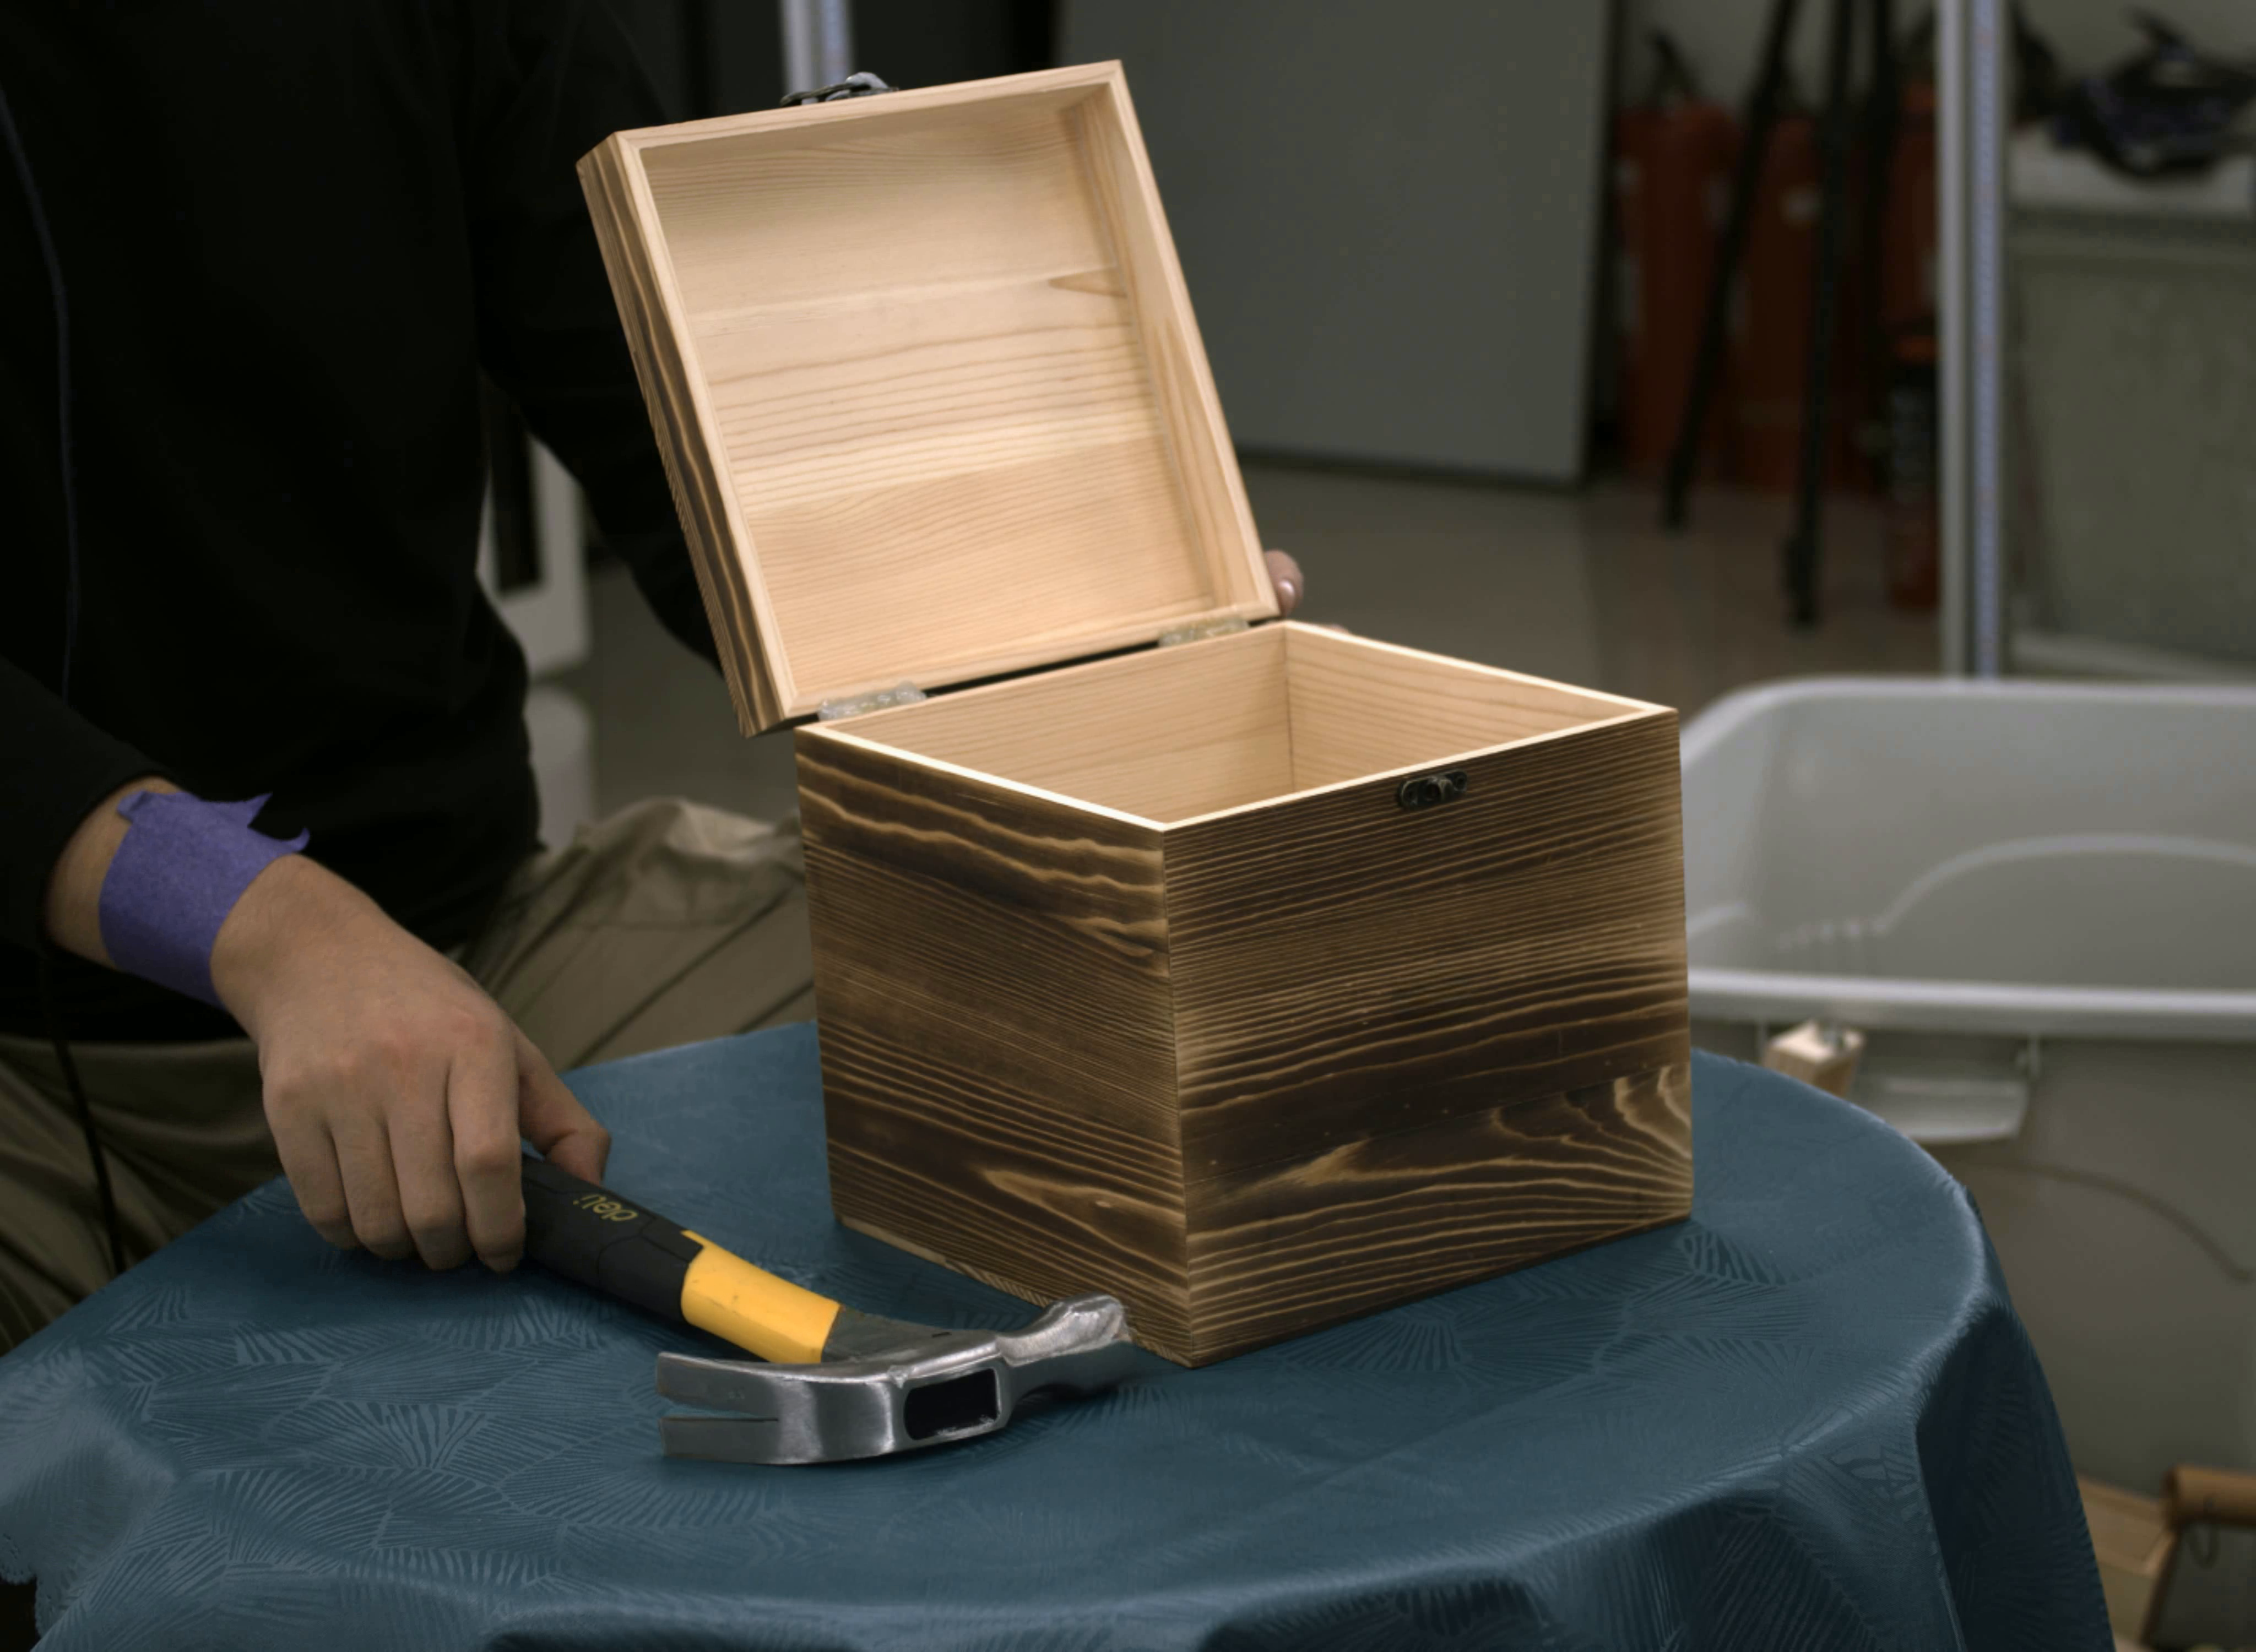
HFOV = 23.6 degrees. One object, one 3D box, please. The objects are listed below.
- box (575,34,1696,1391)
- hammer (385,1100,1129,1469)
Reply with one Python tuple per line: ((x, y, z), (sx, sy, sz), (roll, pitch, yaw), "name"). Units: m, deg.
((0.000, -0.055, 1.735), (0.204, 0.379, 0.325), (-13, 15, -32), "box")
((-0.143, 0.135, 1.685), (0.128, 0.032, 0.342), (-13, 17, -31), "hammer")
